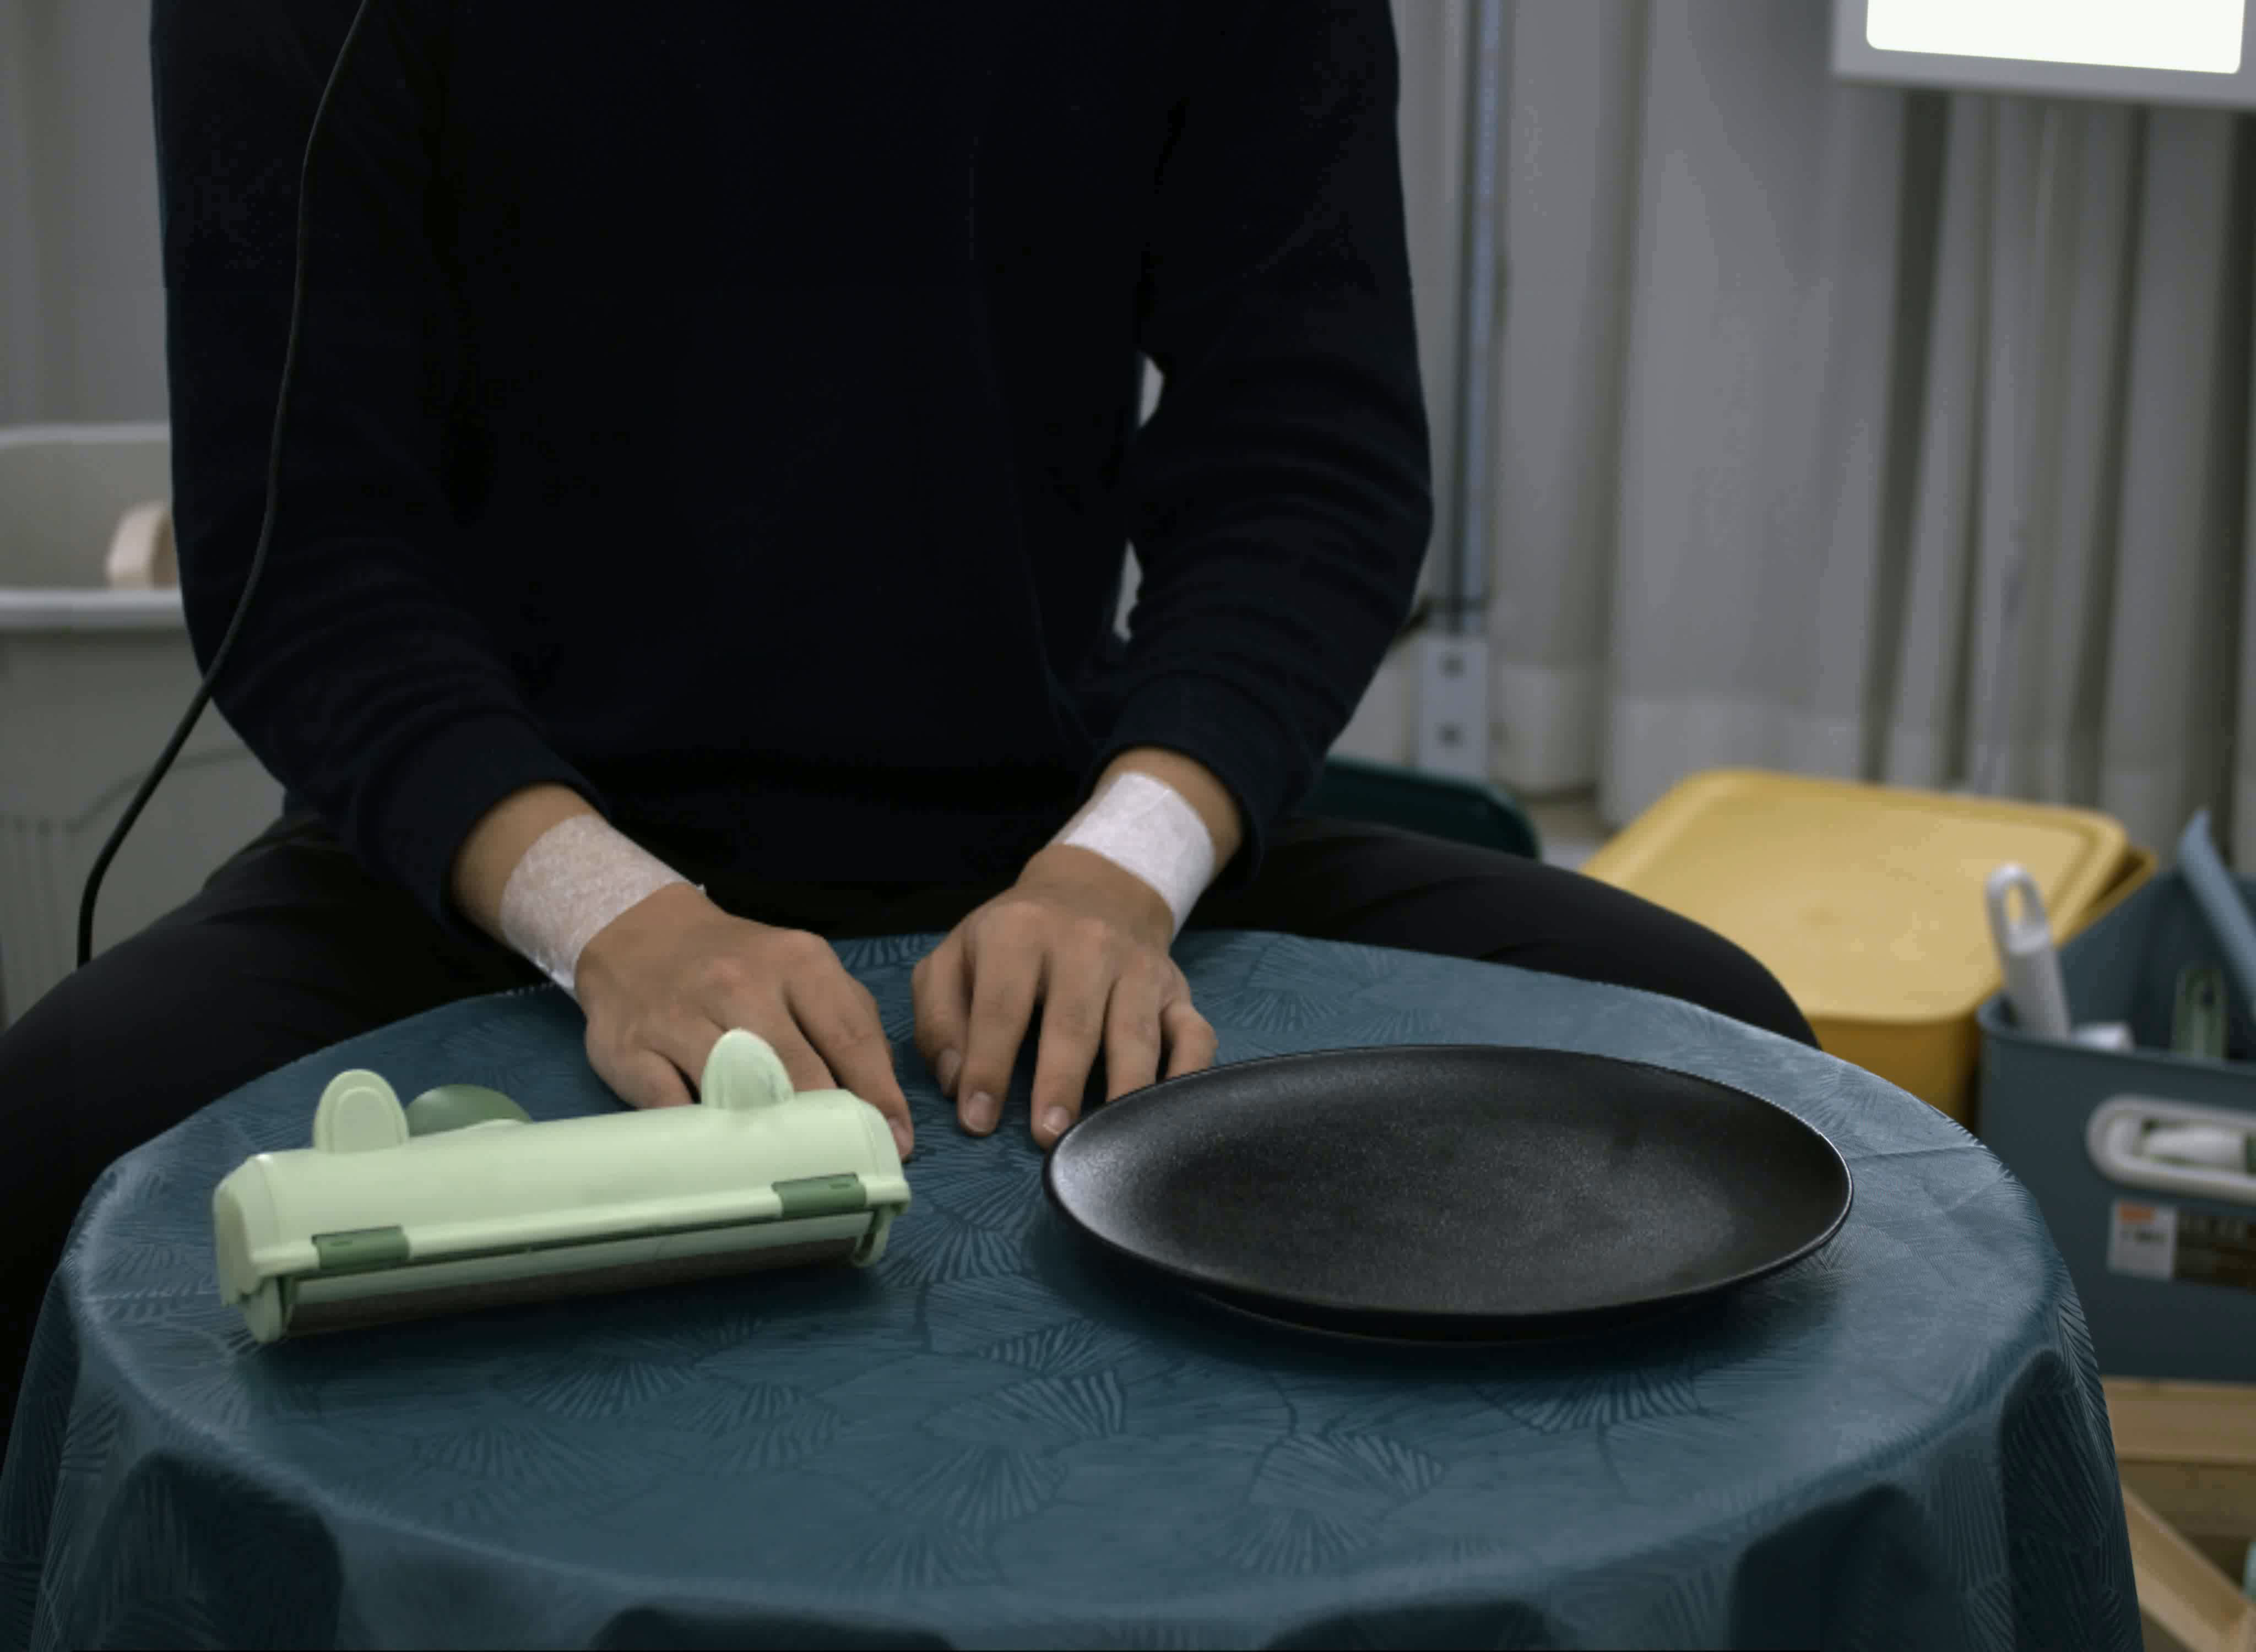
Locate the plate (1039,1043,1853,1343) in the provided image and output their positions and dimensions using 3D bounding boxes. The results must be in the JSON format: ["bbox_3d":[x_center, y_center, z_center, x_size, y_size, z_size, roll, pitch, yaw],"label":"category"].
[{"bbox_3d":[0.095,0.112,1.580,0.243,0.023,0.243,1,16,0],"label":"plate"}]

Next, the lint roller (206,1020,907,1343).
[{"bbox_3d":[-0.185,0.084,1.558,0.199,0.083,0.181,-5,23,-23],"label":"lint roller"}]
